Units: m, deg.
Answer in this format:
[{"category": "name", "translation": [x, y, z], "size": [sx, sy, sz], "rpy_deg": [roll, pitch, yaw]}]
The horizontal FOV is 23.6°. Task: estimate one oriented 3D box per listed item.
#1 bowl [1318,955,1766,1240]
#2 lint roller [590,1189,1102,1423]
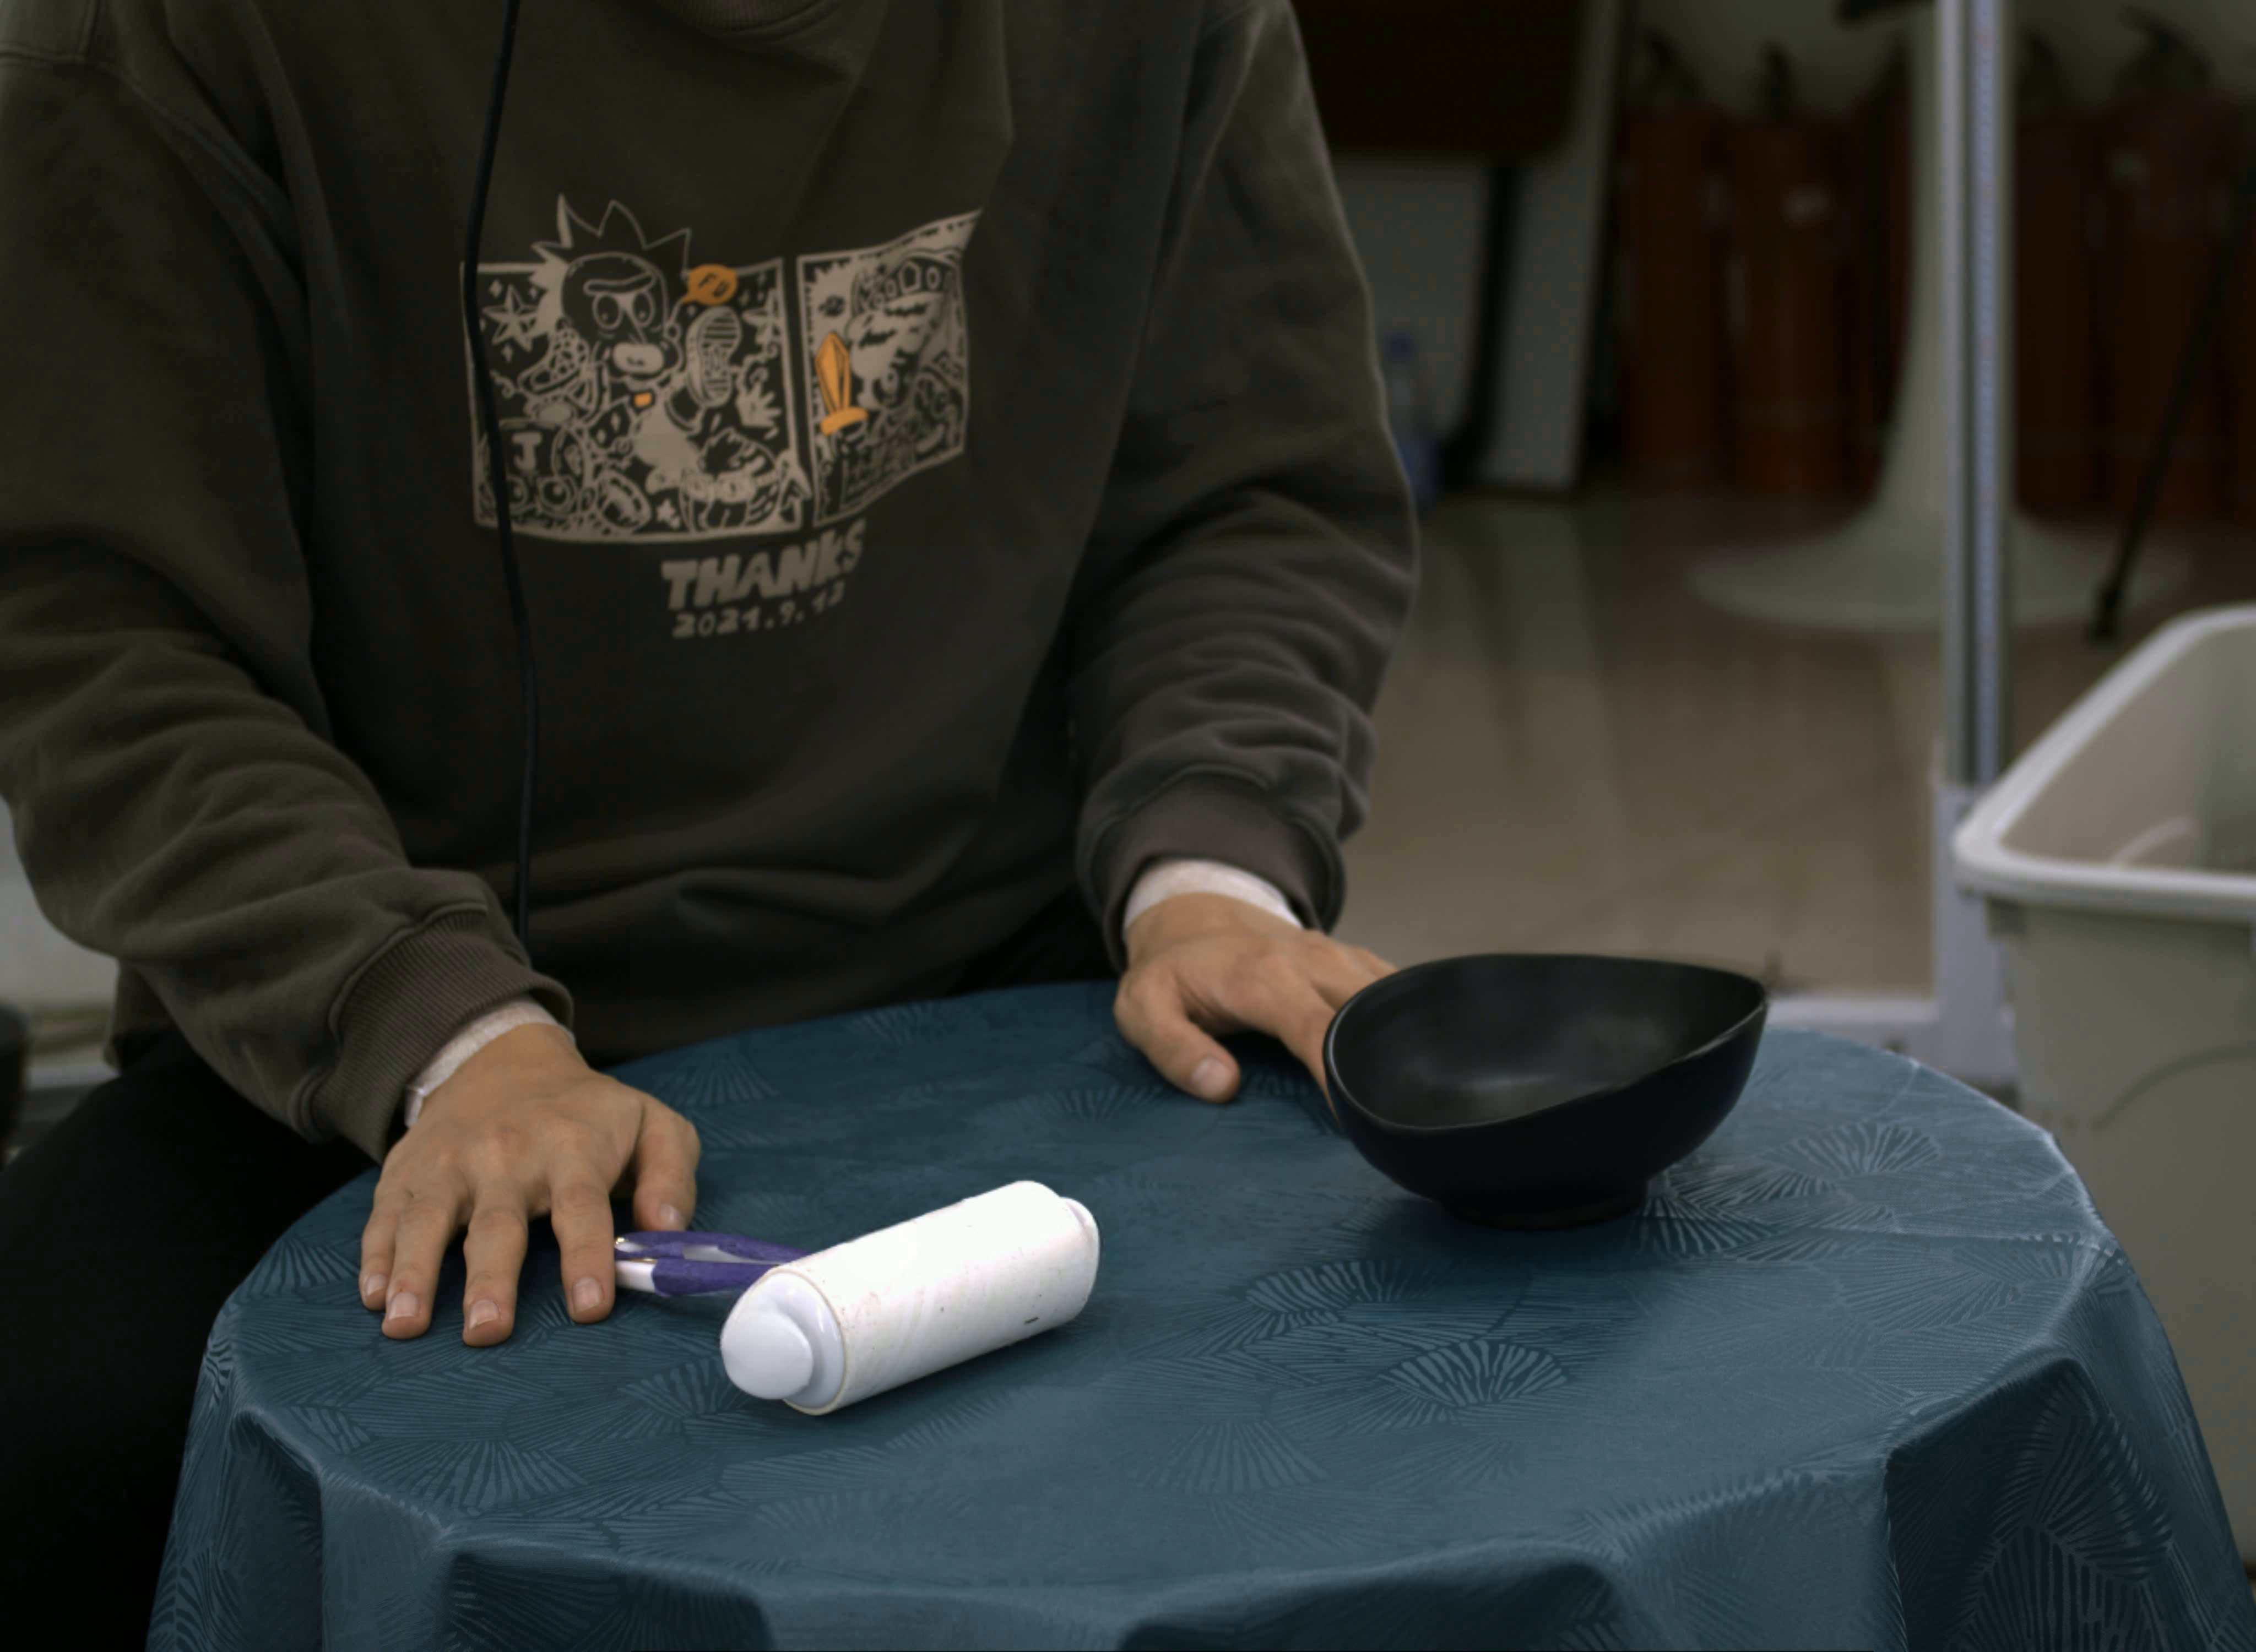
[{"category": "bowl", "translation": [0.135, 0.091, 1.728], "size": [0.138, 0.067, 0.167], "rpy_deg": [3, 17, 32]}, {"category": "lint roller", "translation": [-0.105, 0.132, 1.662], "size": [0.130, 0.051, 0.182], "rpy_deg": [-15, 20, -38]}]
